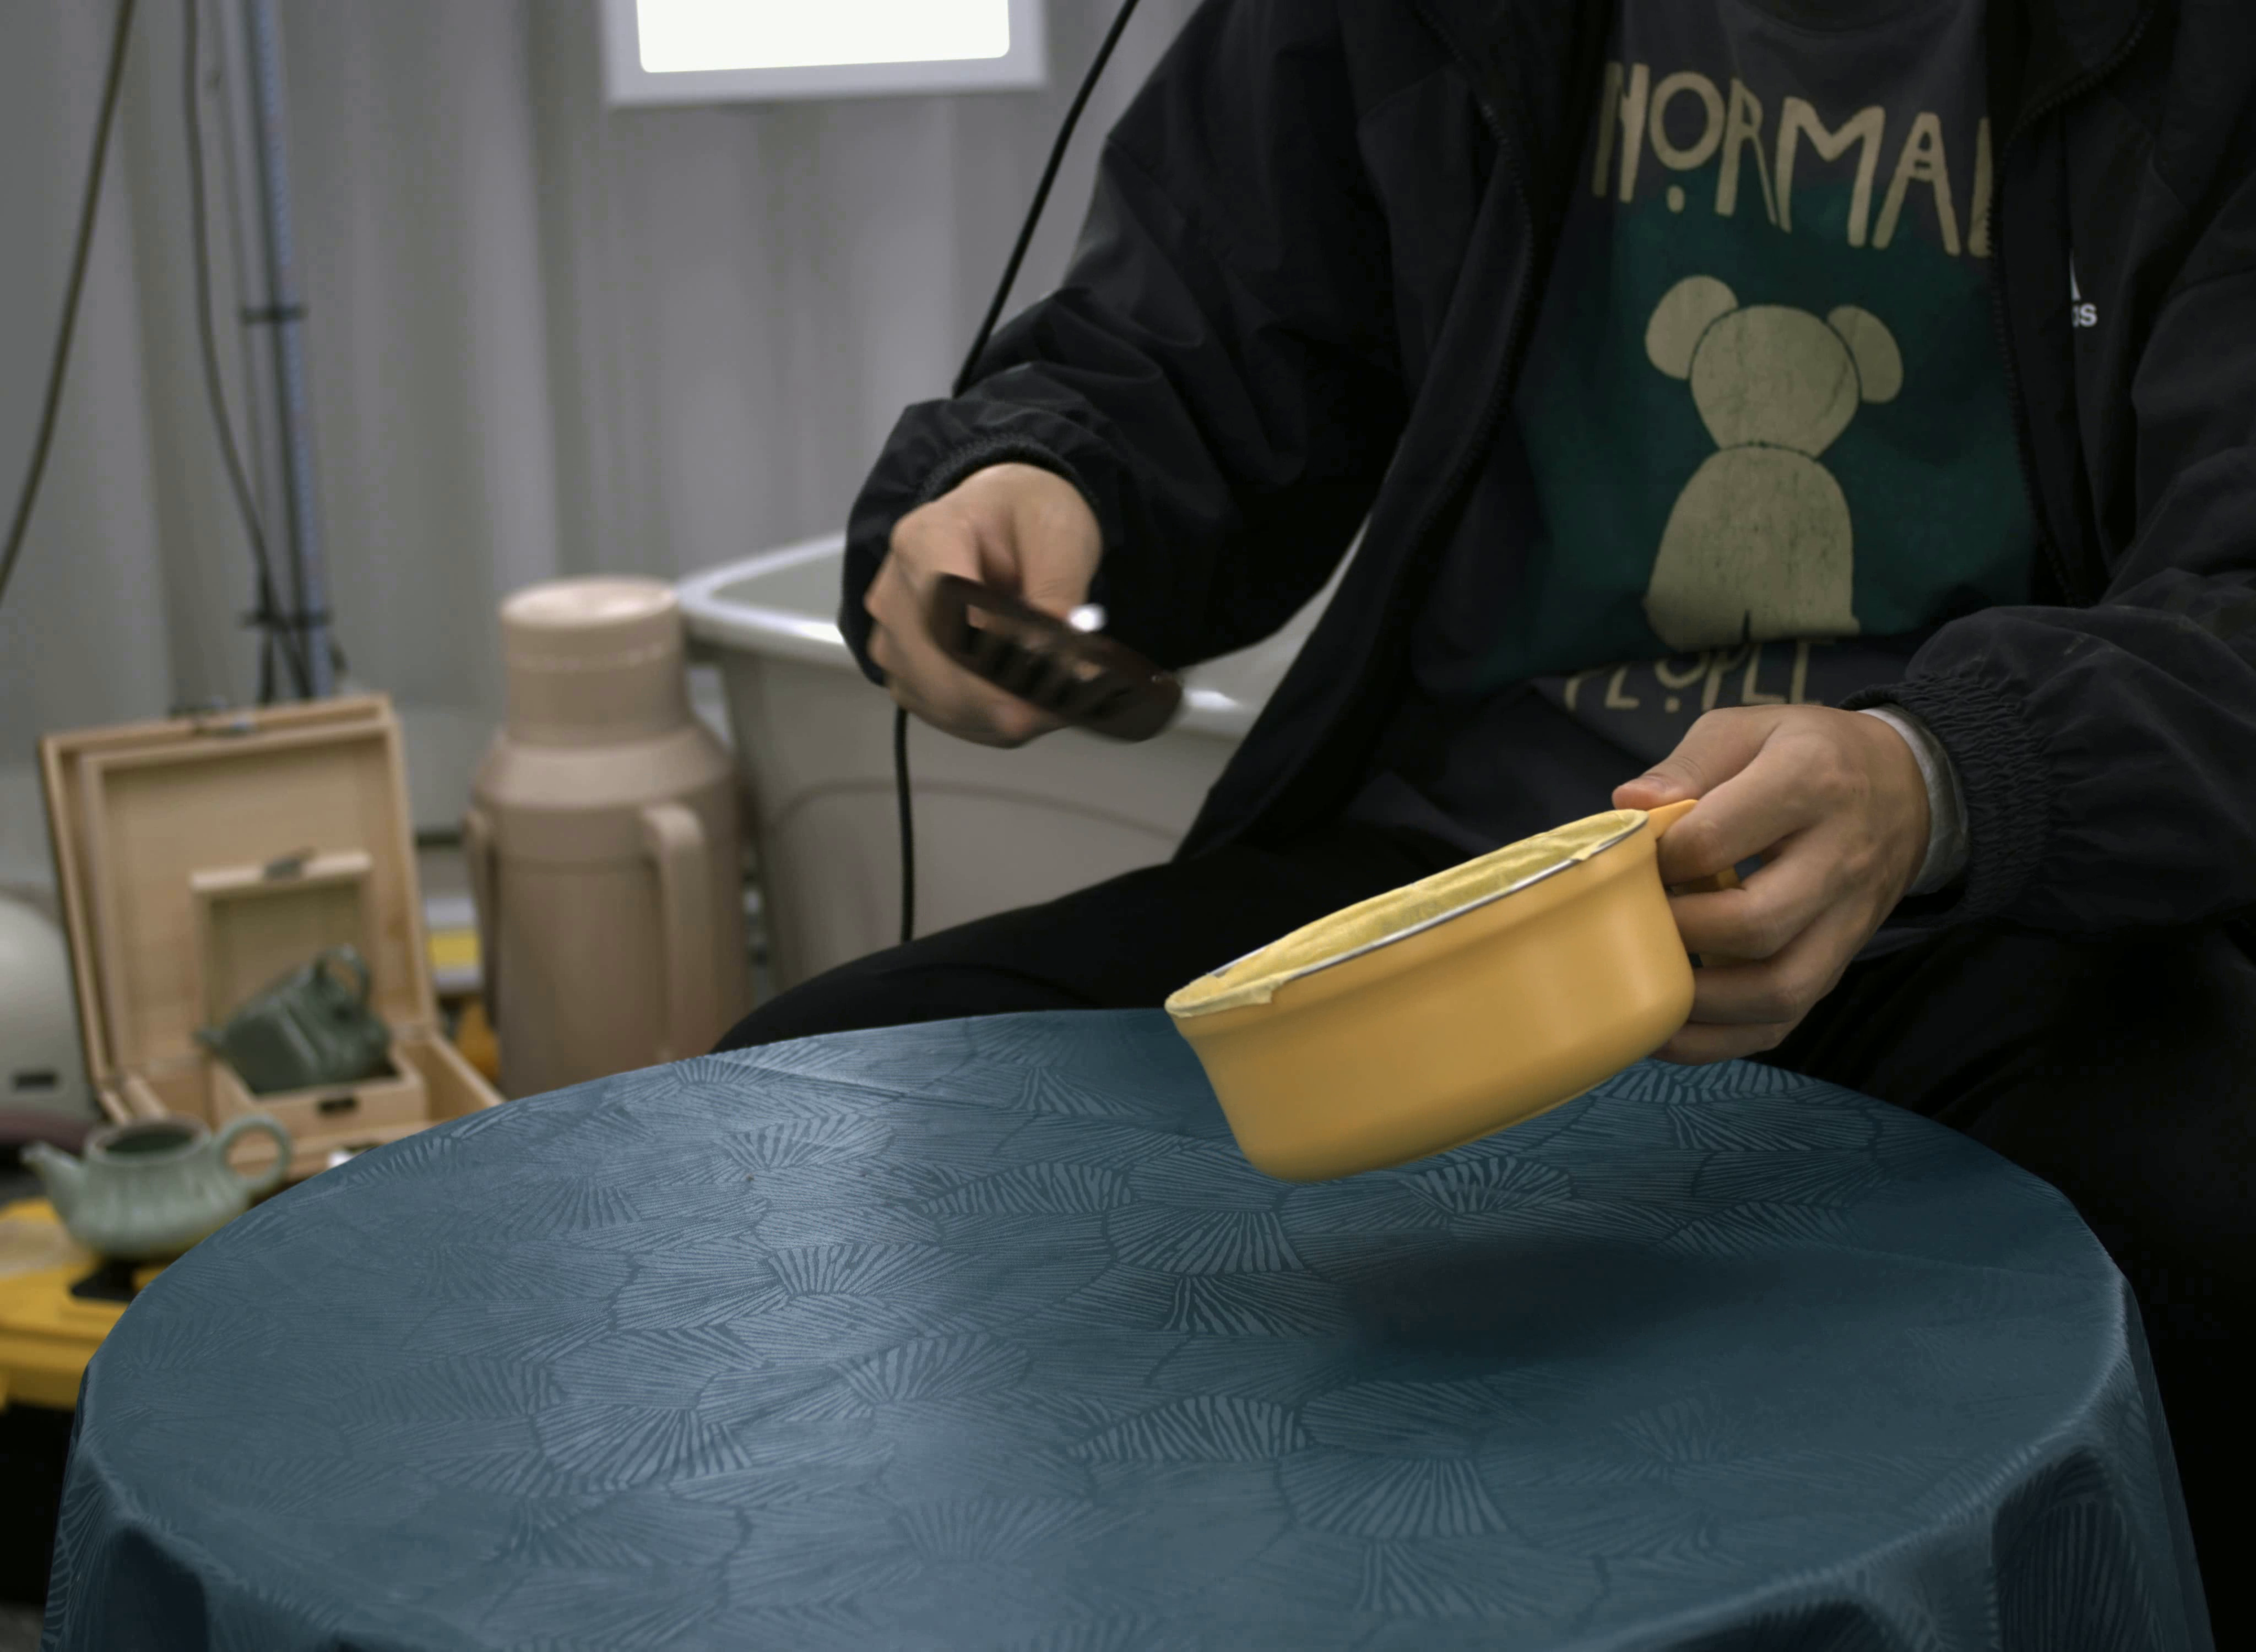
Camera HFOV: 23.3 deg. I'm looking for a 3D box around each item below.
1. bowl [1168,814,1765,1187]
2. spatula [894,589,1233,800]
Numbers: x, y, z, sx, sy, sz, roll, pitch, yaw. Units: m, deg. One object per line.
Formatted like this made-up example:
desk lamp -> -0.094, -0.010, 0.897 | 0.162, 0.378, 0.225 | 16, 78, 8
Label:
bowl -> 0.106, 0.050, 1.603 | 0.179, 0.074, 0.153 | -24, 4, -32
spatula -> -0.040, -0.049, 1.764 | 0.085, 0.024, 0.388 | 33, 1, -13
